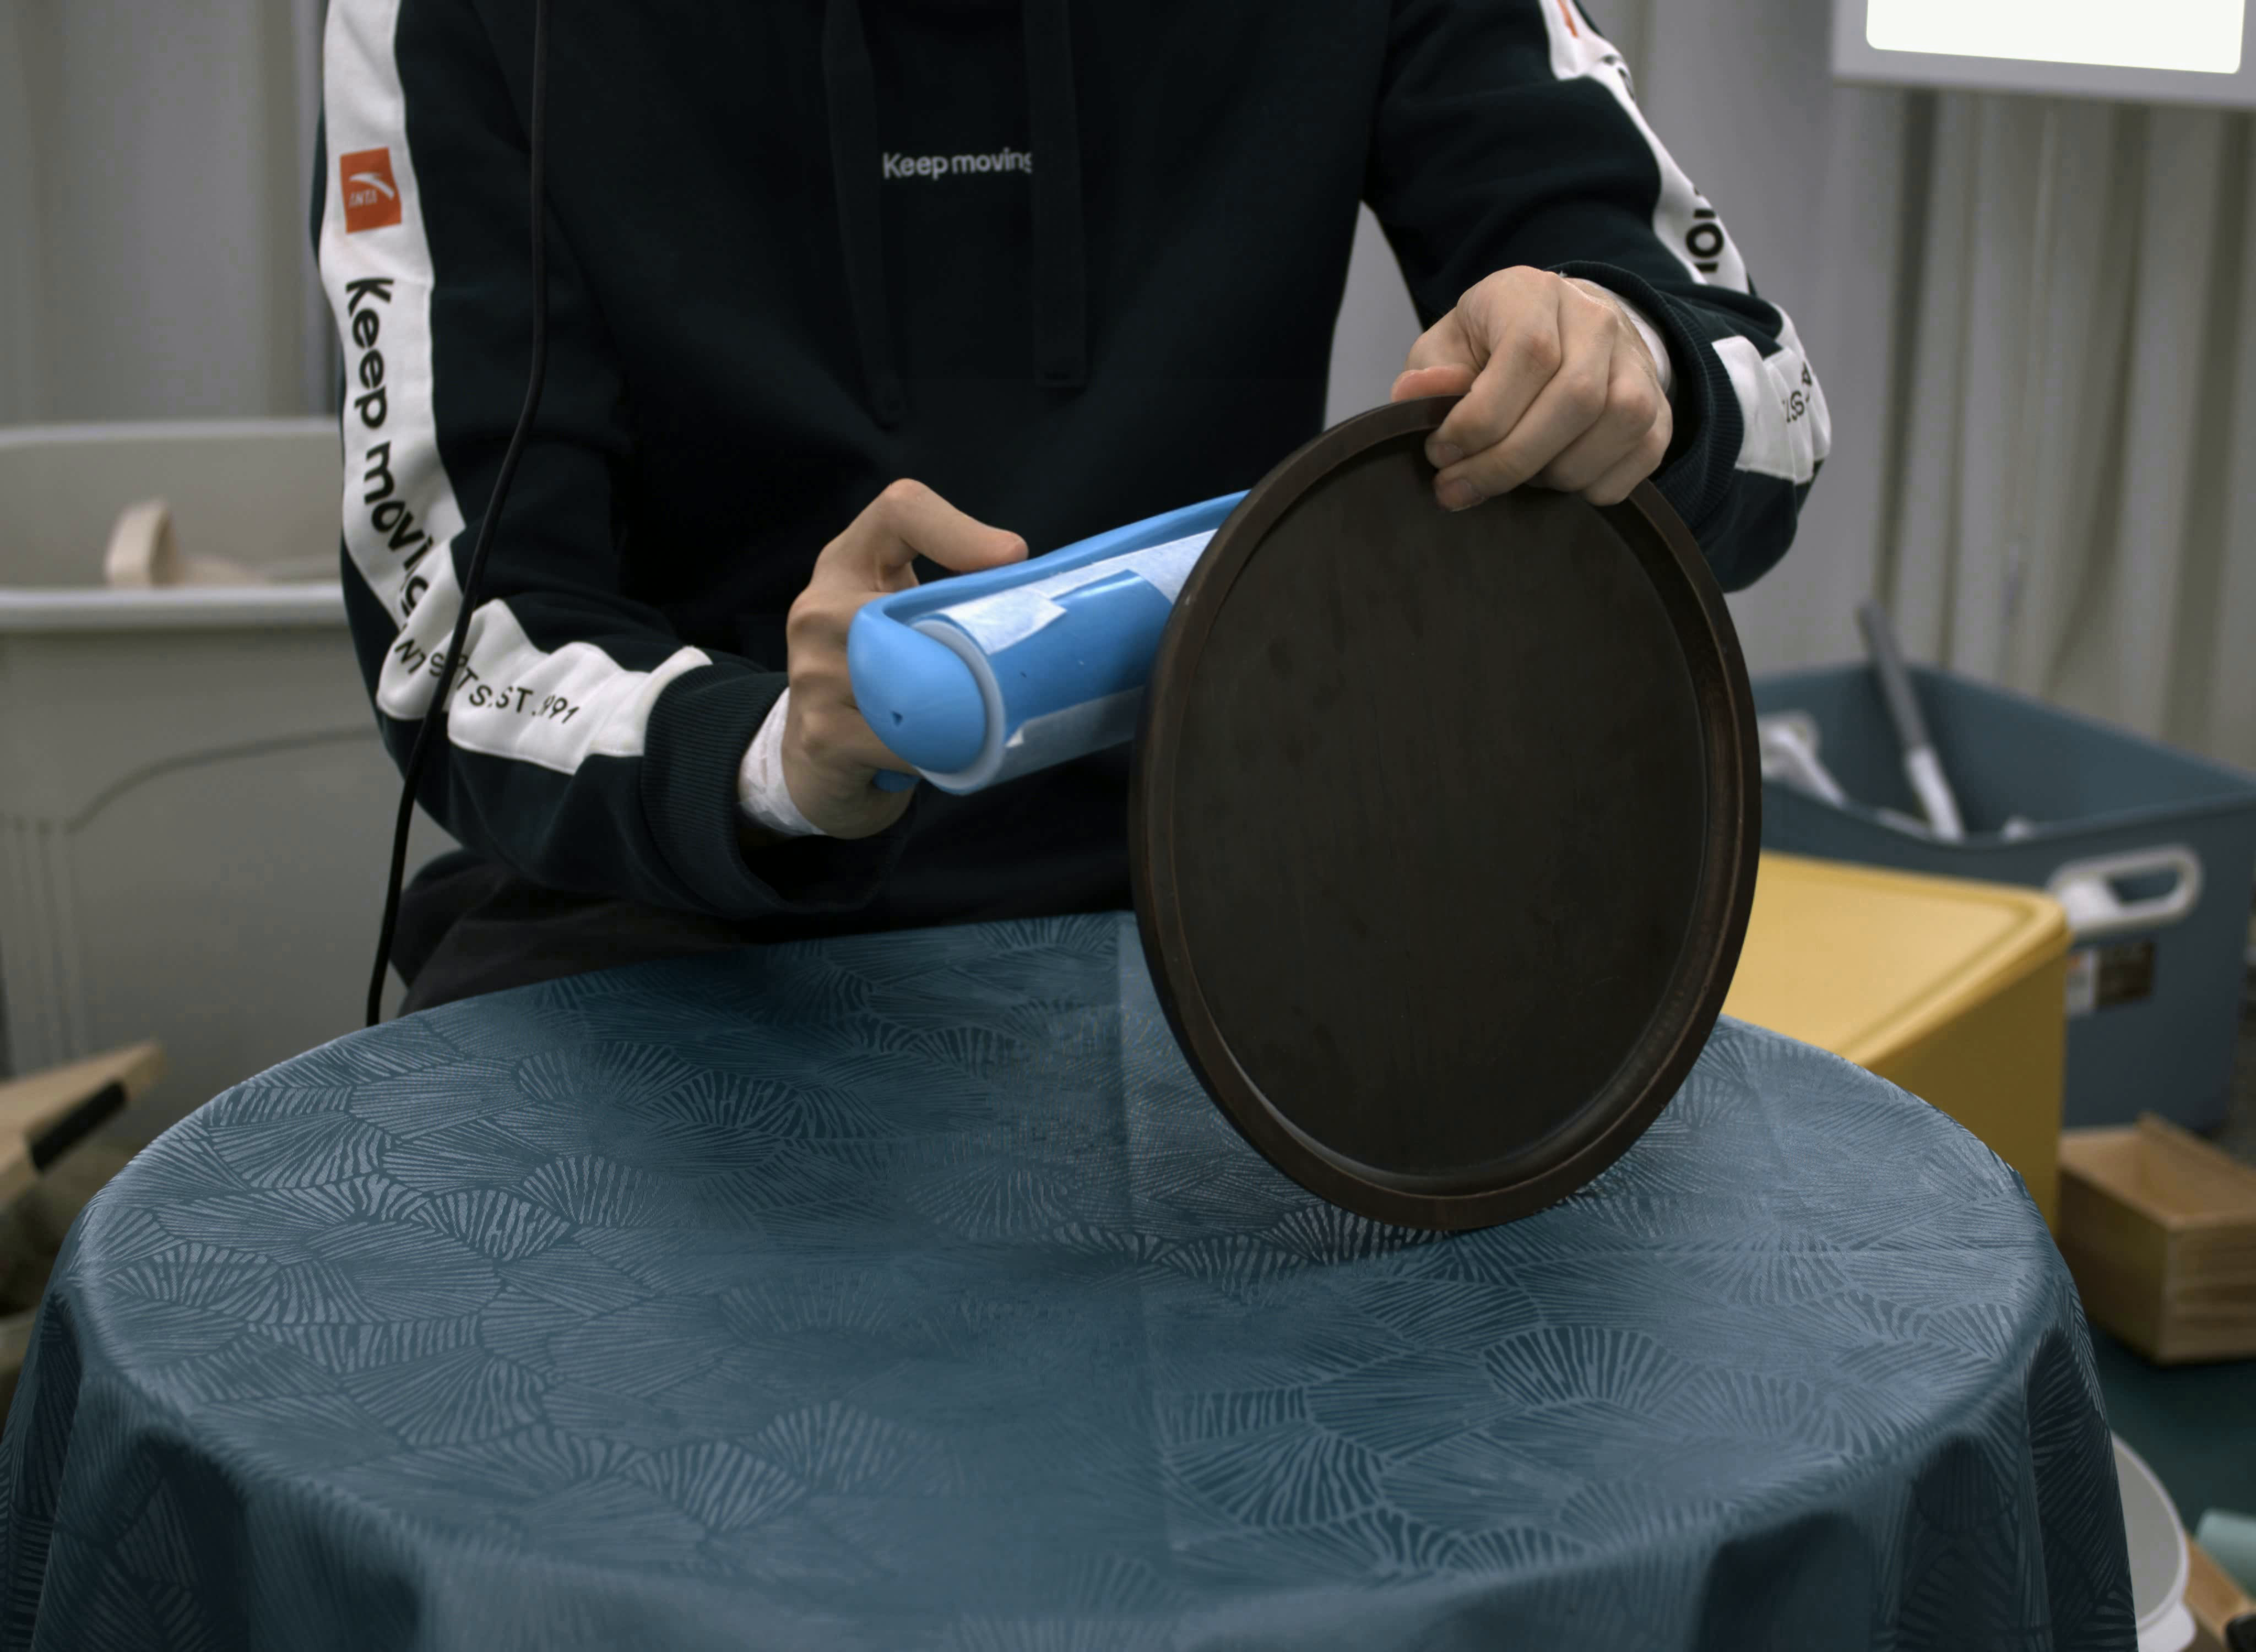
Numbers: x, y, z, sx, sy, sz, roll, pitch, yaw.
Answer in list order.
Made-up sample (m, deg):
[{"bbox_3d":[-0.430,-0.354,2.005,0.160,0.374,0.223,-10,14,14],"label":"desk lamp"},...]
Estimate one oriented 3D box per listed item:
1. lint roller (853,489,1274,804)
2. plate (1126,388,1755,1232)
[{"bbox_3d":[-0.026,-0.052,1.626,0.178,0.068,0.230,-13,5,45],"label":"lint roller"},{"bbox_3d":[0.096,-0.005,1.583,0.256,0.256,0.028,-13,11,-40],"label":"plate"}]
